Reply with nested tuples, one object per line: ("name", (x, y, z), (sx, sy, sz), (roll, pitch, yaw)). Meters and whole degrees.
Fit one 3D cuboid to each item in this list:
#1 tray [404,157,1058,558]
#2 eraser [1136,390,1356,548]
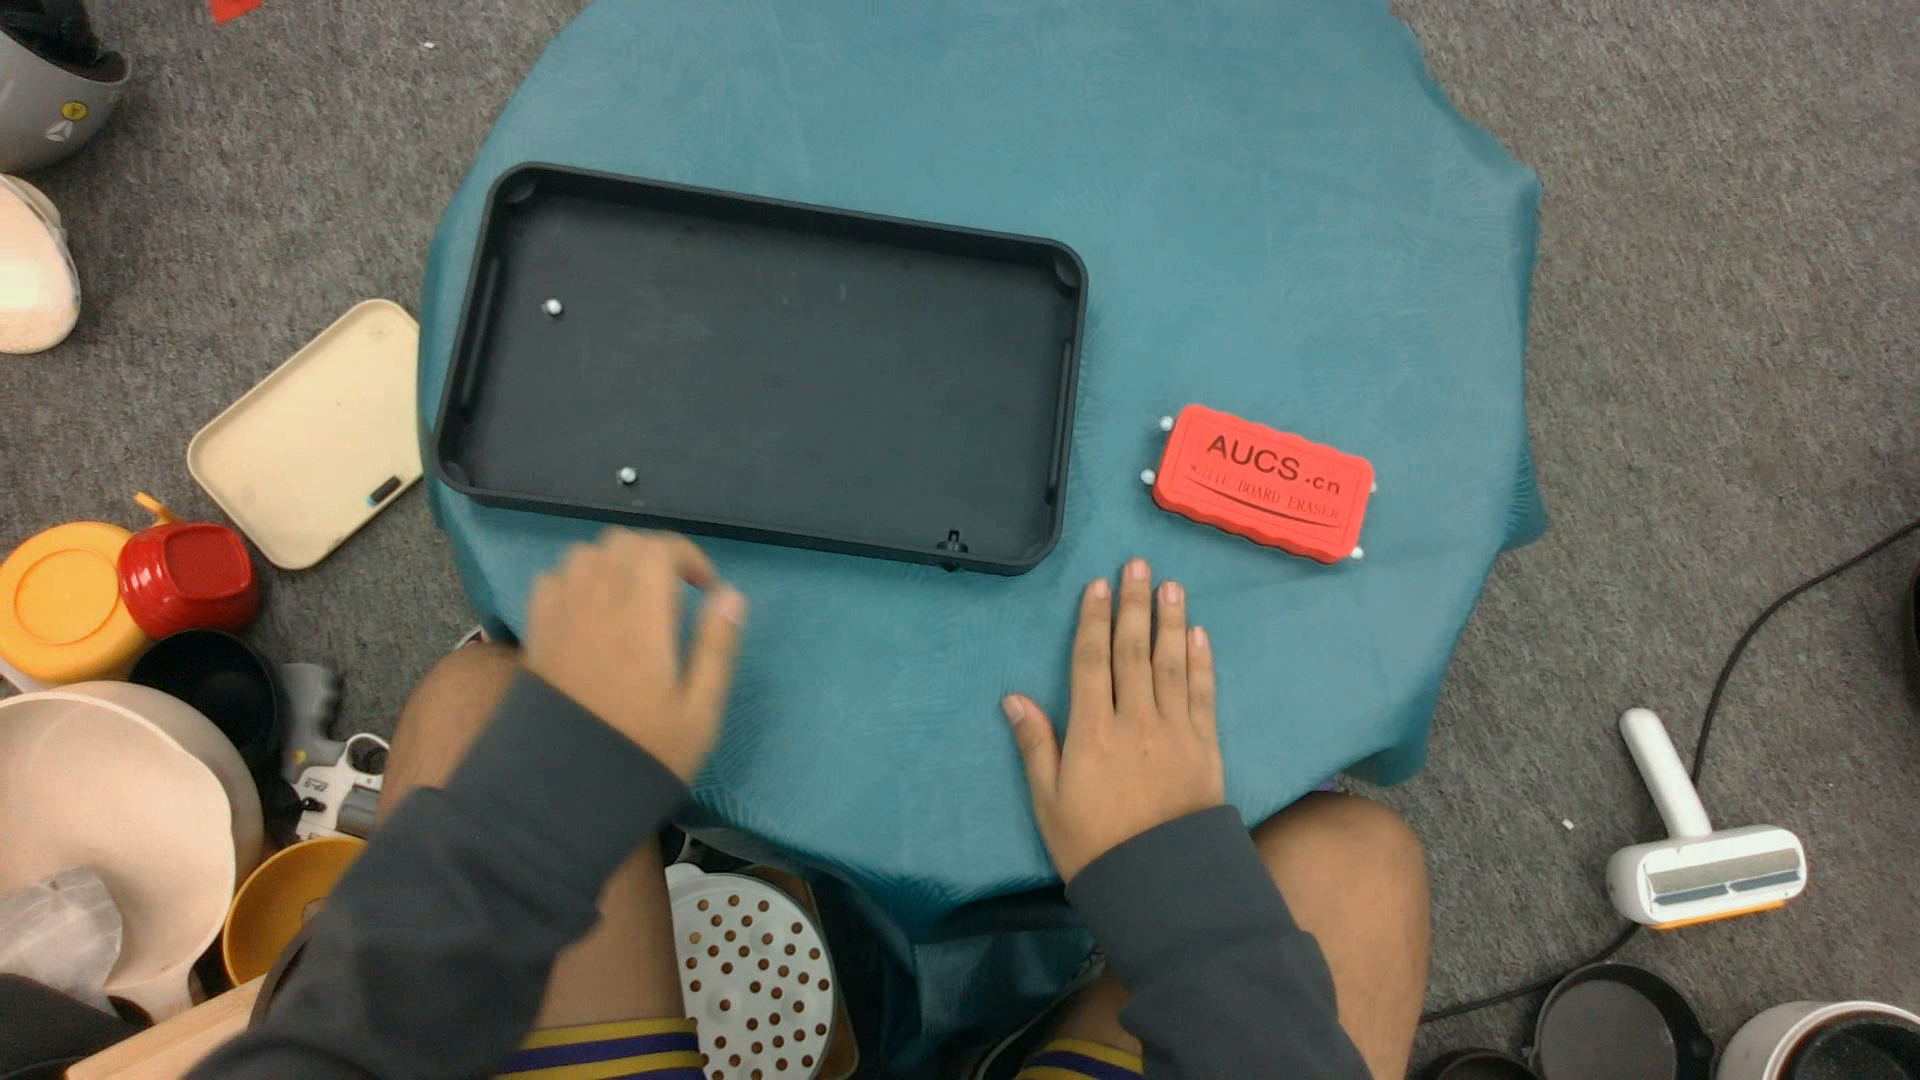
("tray", (-0.112, -0.094, 0.723), (0.318, 0.037, 0.184), (6, 75, -4))
("eraser", (0.152, -0.037, 0.732), (0.108, 0.023, 0.059), (18, 80, -1))
